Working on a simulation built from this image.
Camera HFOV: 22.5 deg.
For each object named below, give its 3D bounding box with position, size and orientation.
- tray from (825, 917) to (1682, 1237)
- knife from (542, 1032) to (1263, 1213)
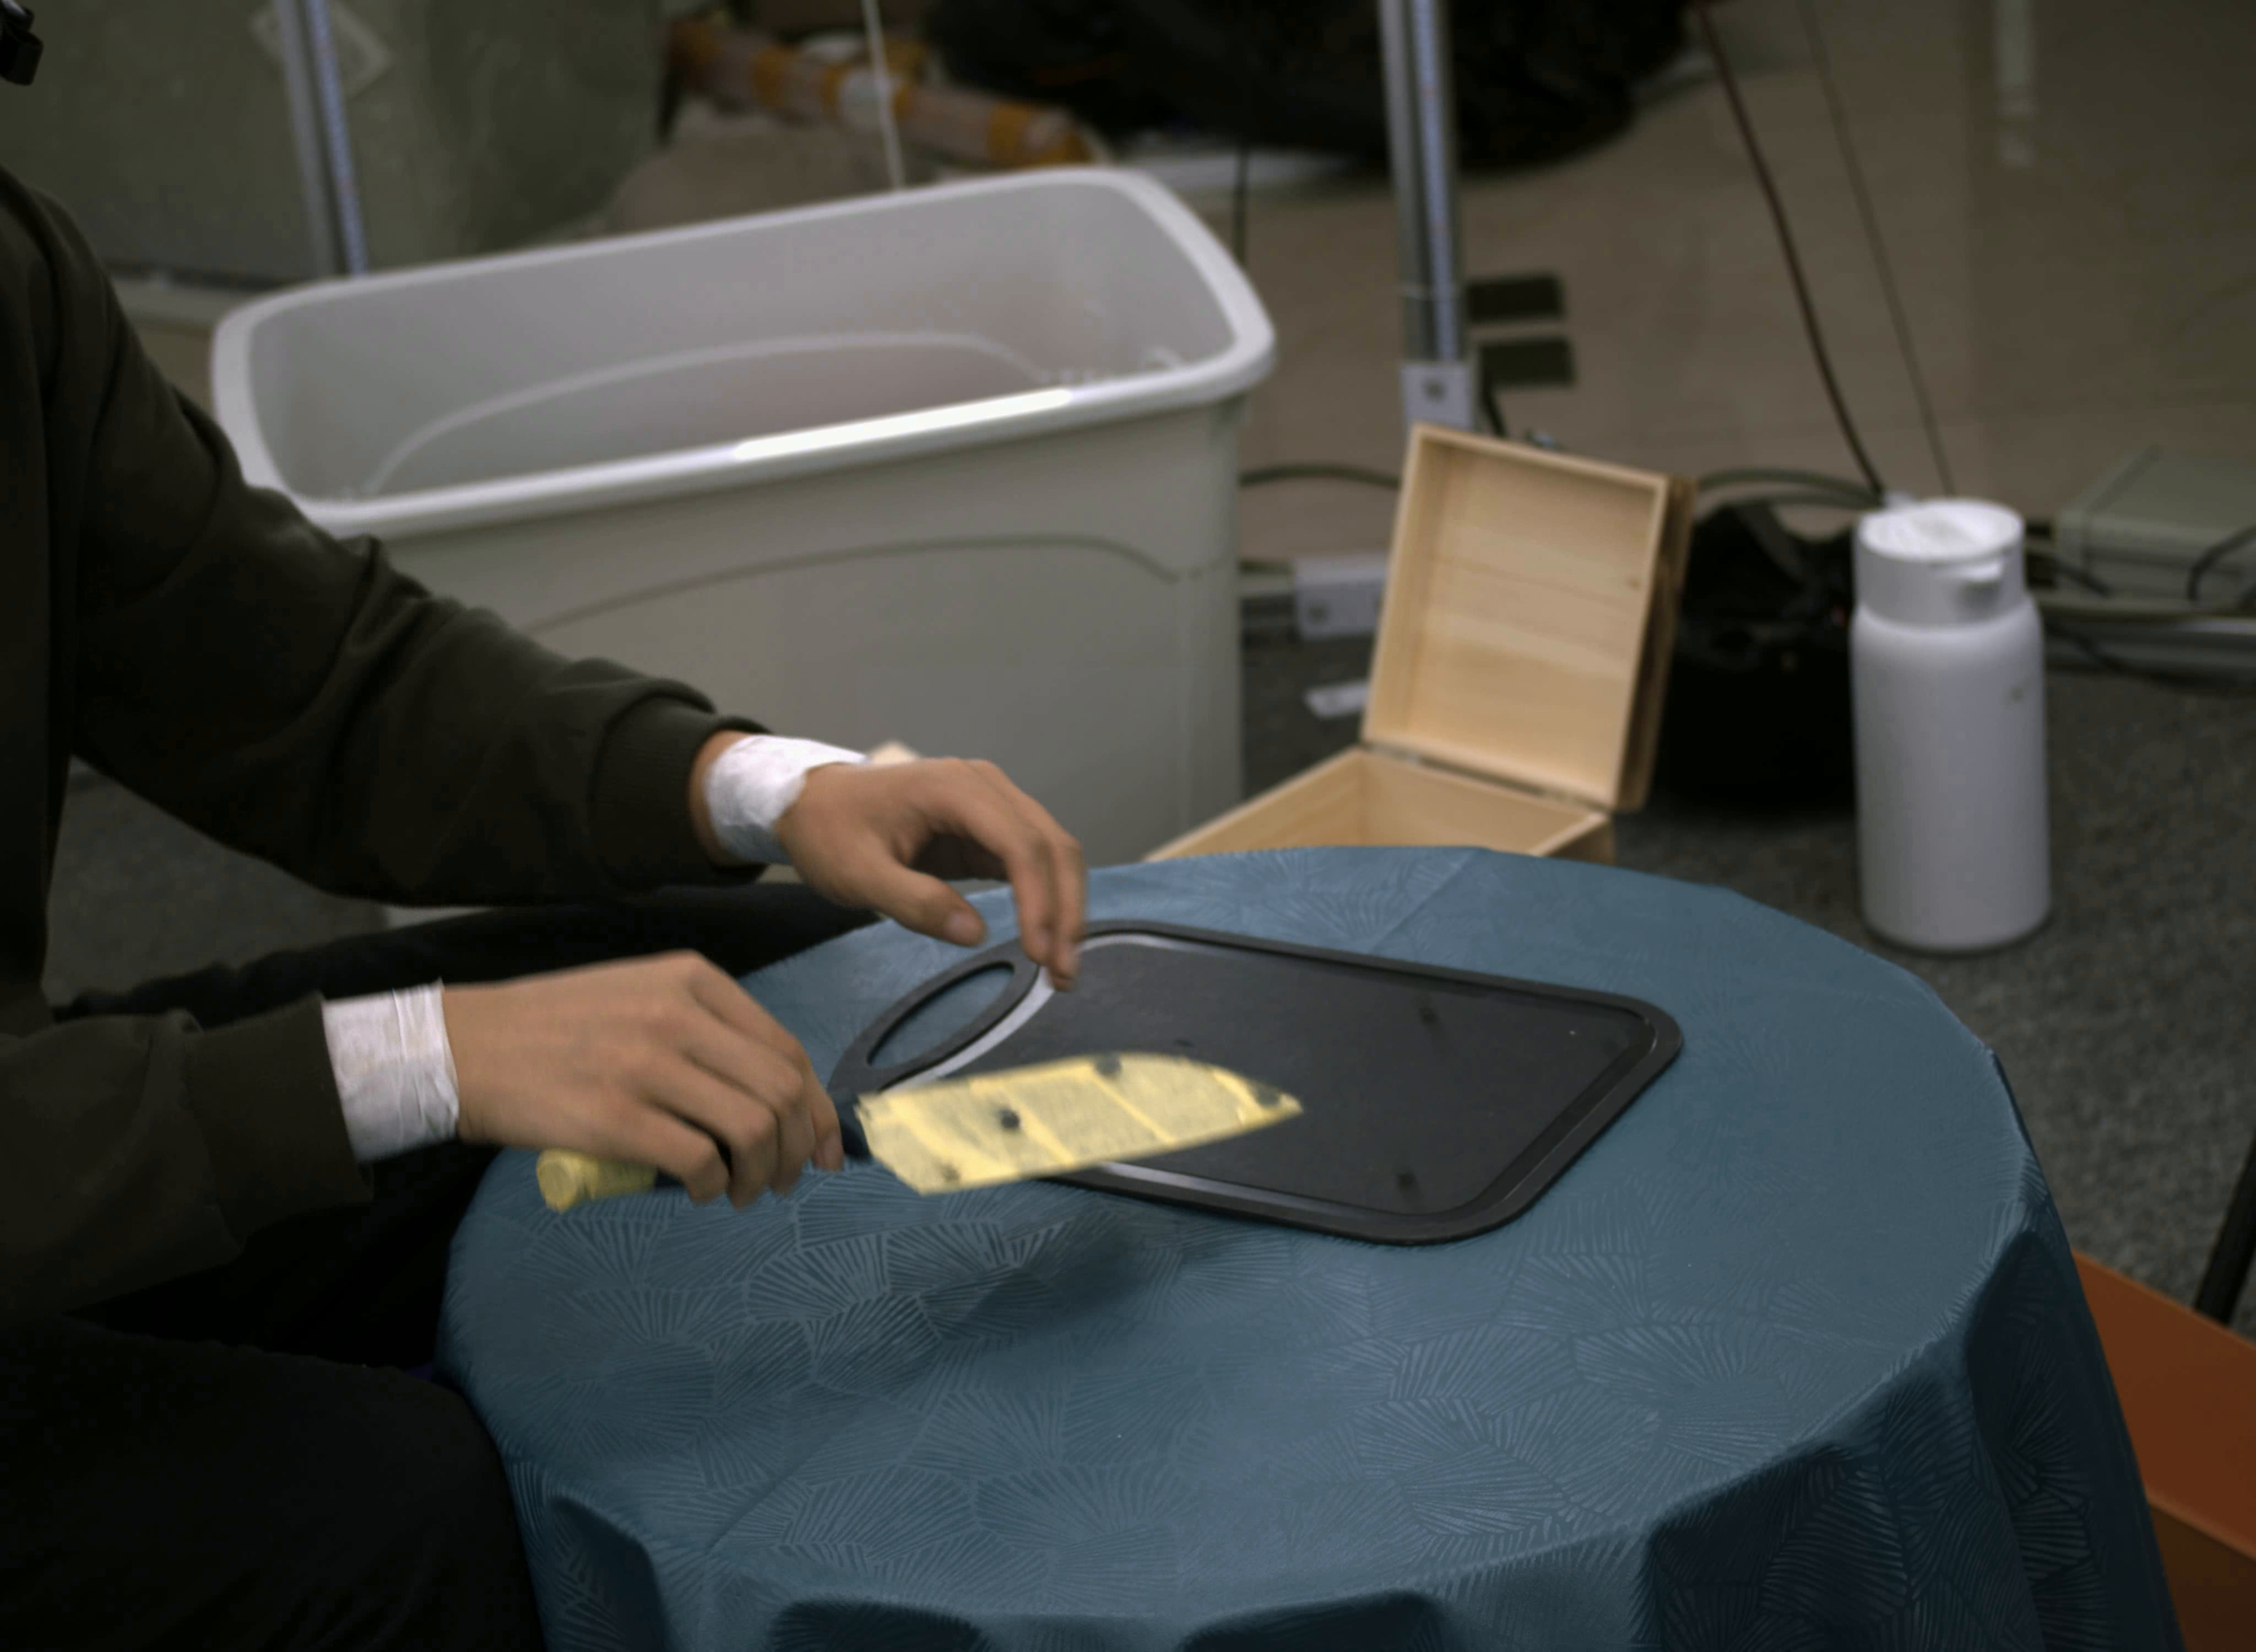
[{"bbox_3d":[0.041,0.093,2.231,0.324,0.010,0.208,9,29,30],"label":"tray"},{"bbox_3d":[-0.075,0.109,2.064,0.288,0.027,0.080,-9,27,-28],"label":"knife"}]
